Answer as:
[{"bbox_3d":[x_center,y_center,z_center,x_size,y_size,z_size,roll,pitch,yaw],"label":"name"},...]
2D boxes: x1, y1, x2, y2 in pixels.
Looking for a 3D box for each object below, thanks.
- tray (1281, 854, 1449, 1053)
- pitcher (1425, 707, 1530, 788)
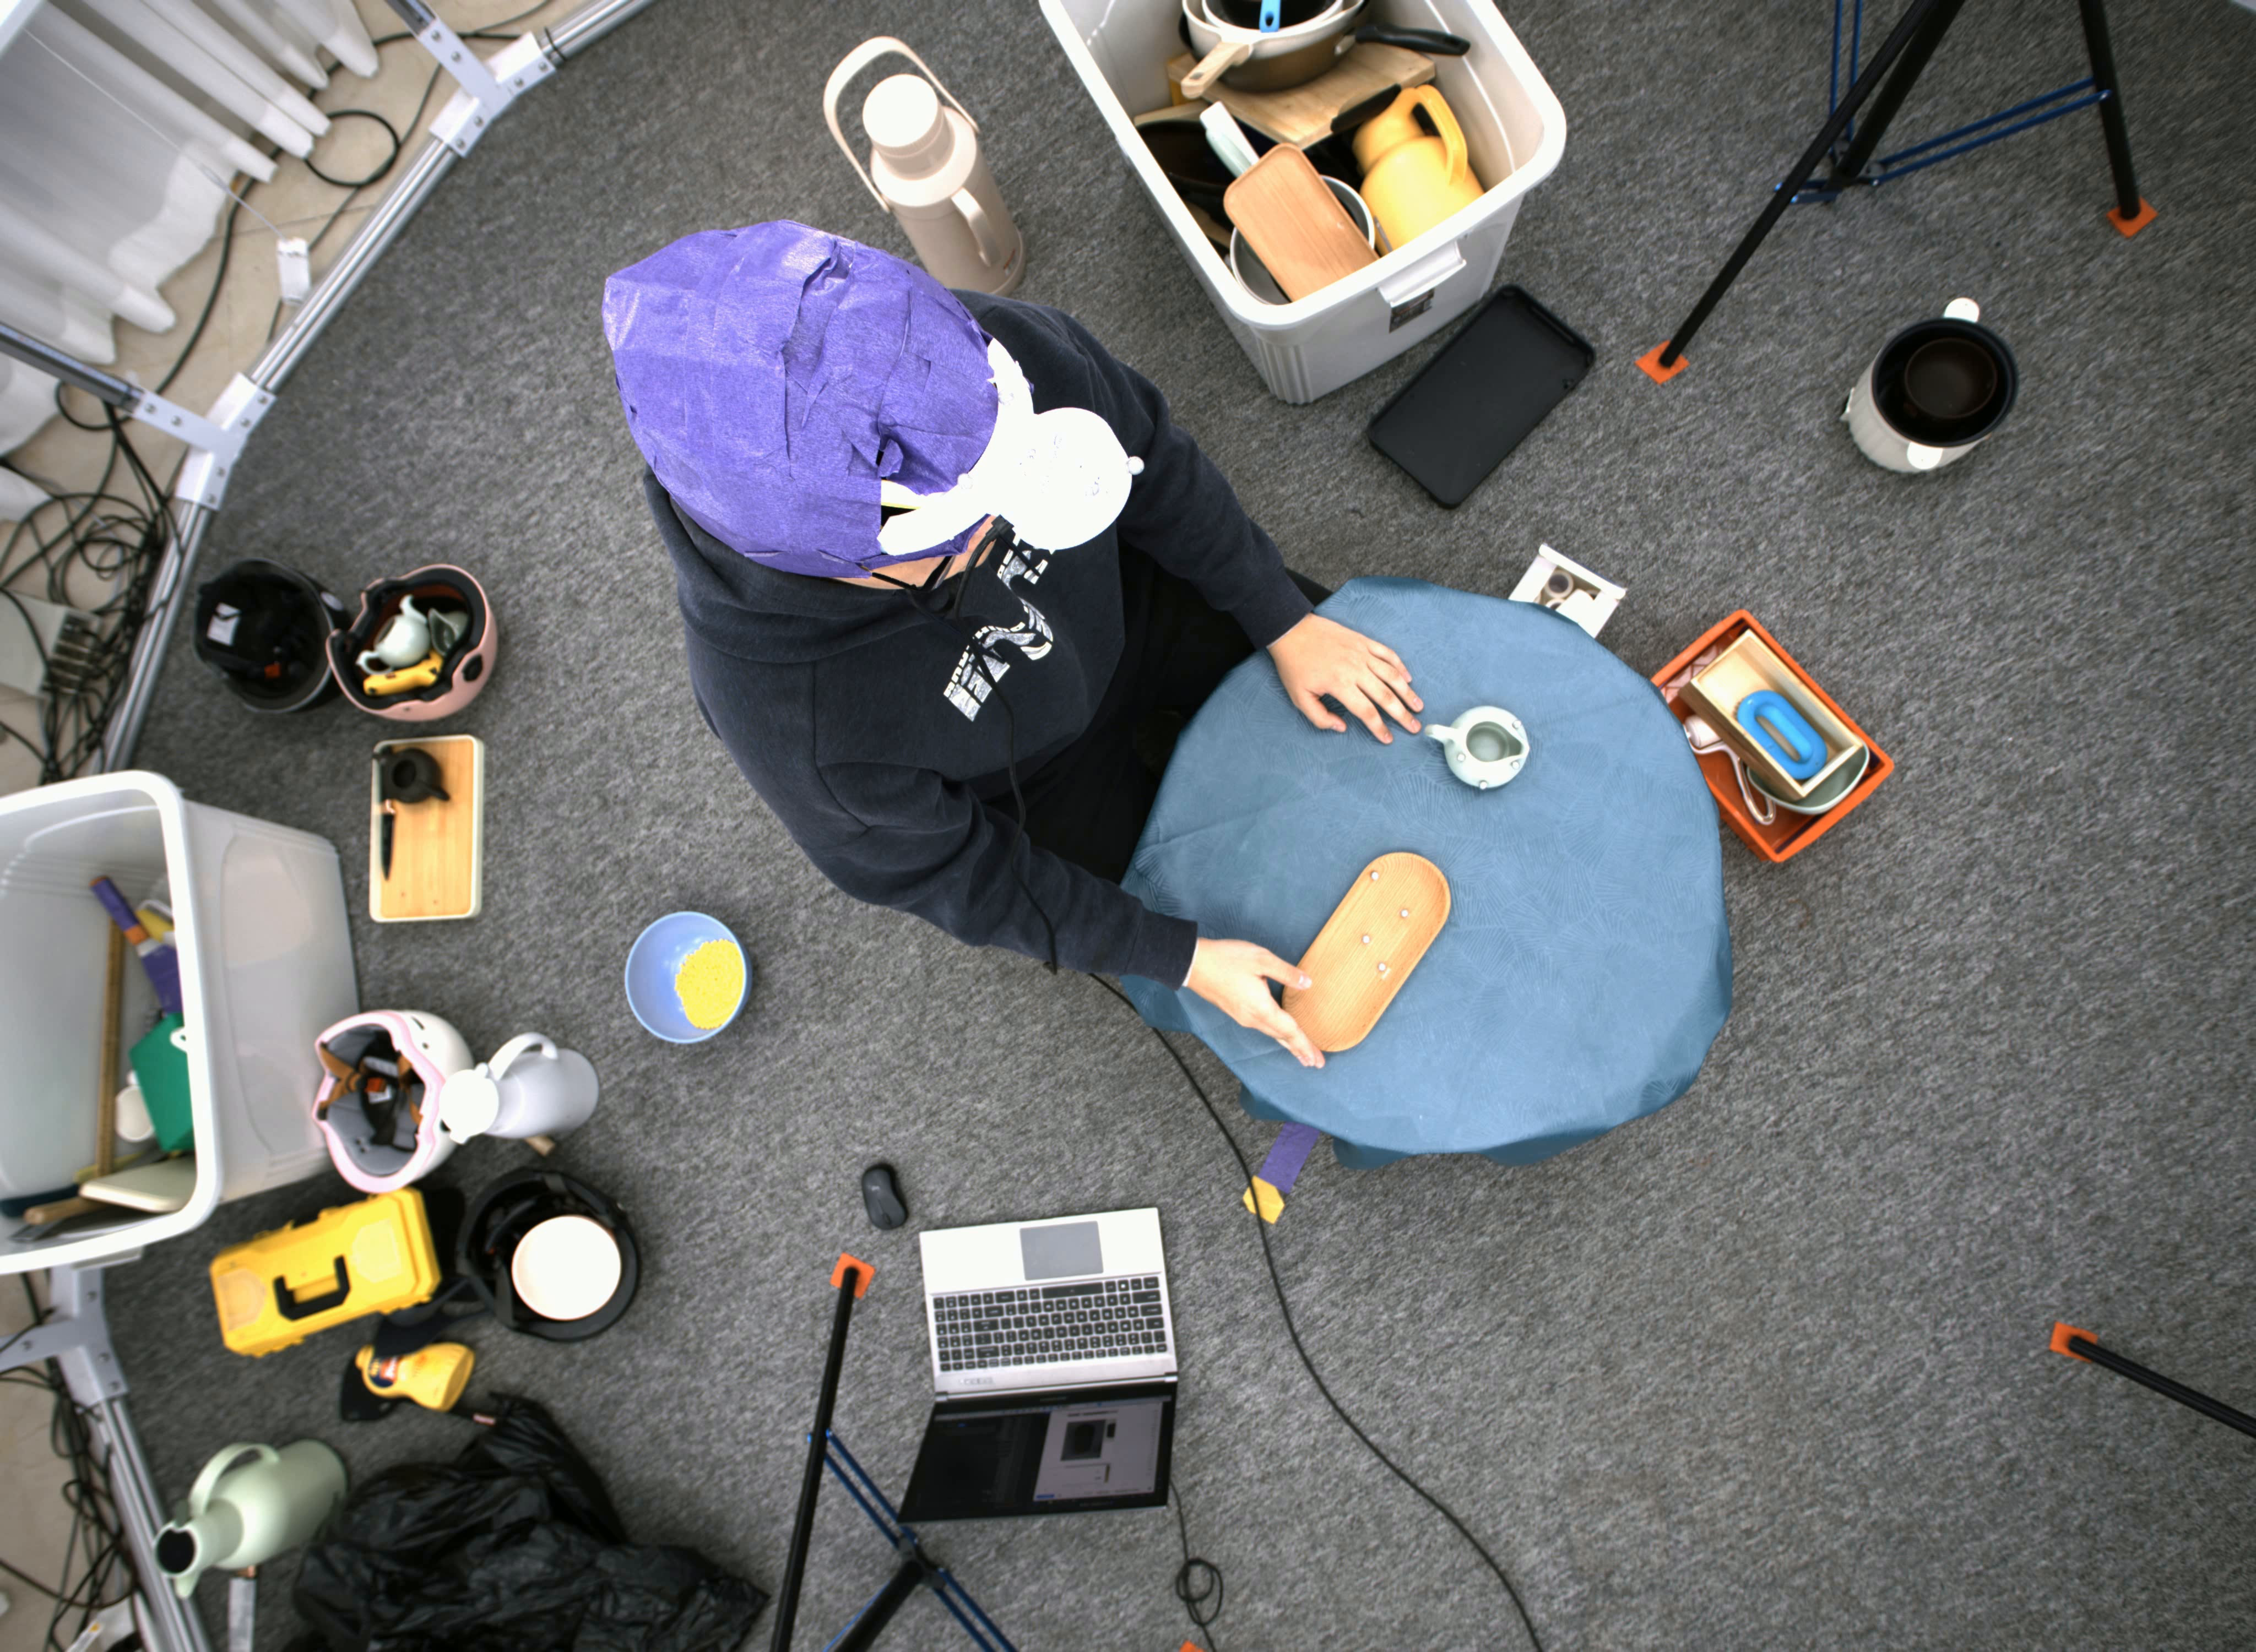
[{"bbox_3d":[0.249,0.133,1.453,0.101,0.020,0.232,35,95,11],"label":"tray"},{"bbox_3d":[0.363,-0.087,1.425,0.108,0.060,0.086,12,87,14],"label":"pitcher"}]
